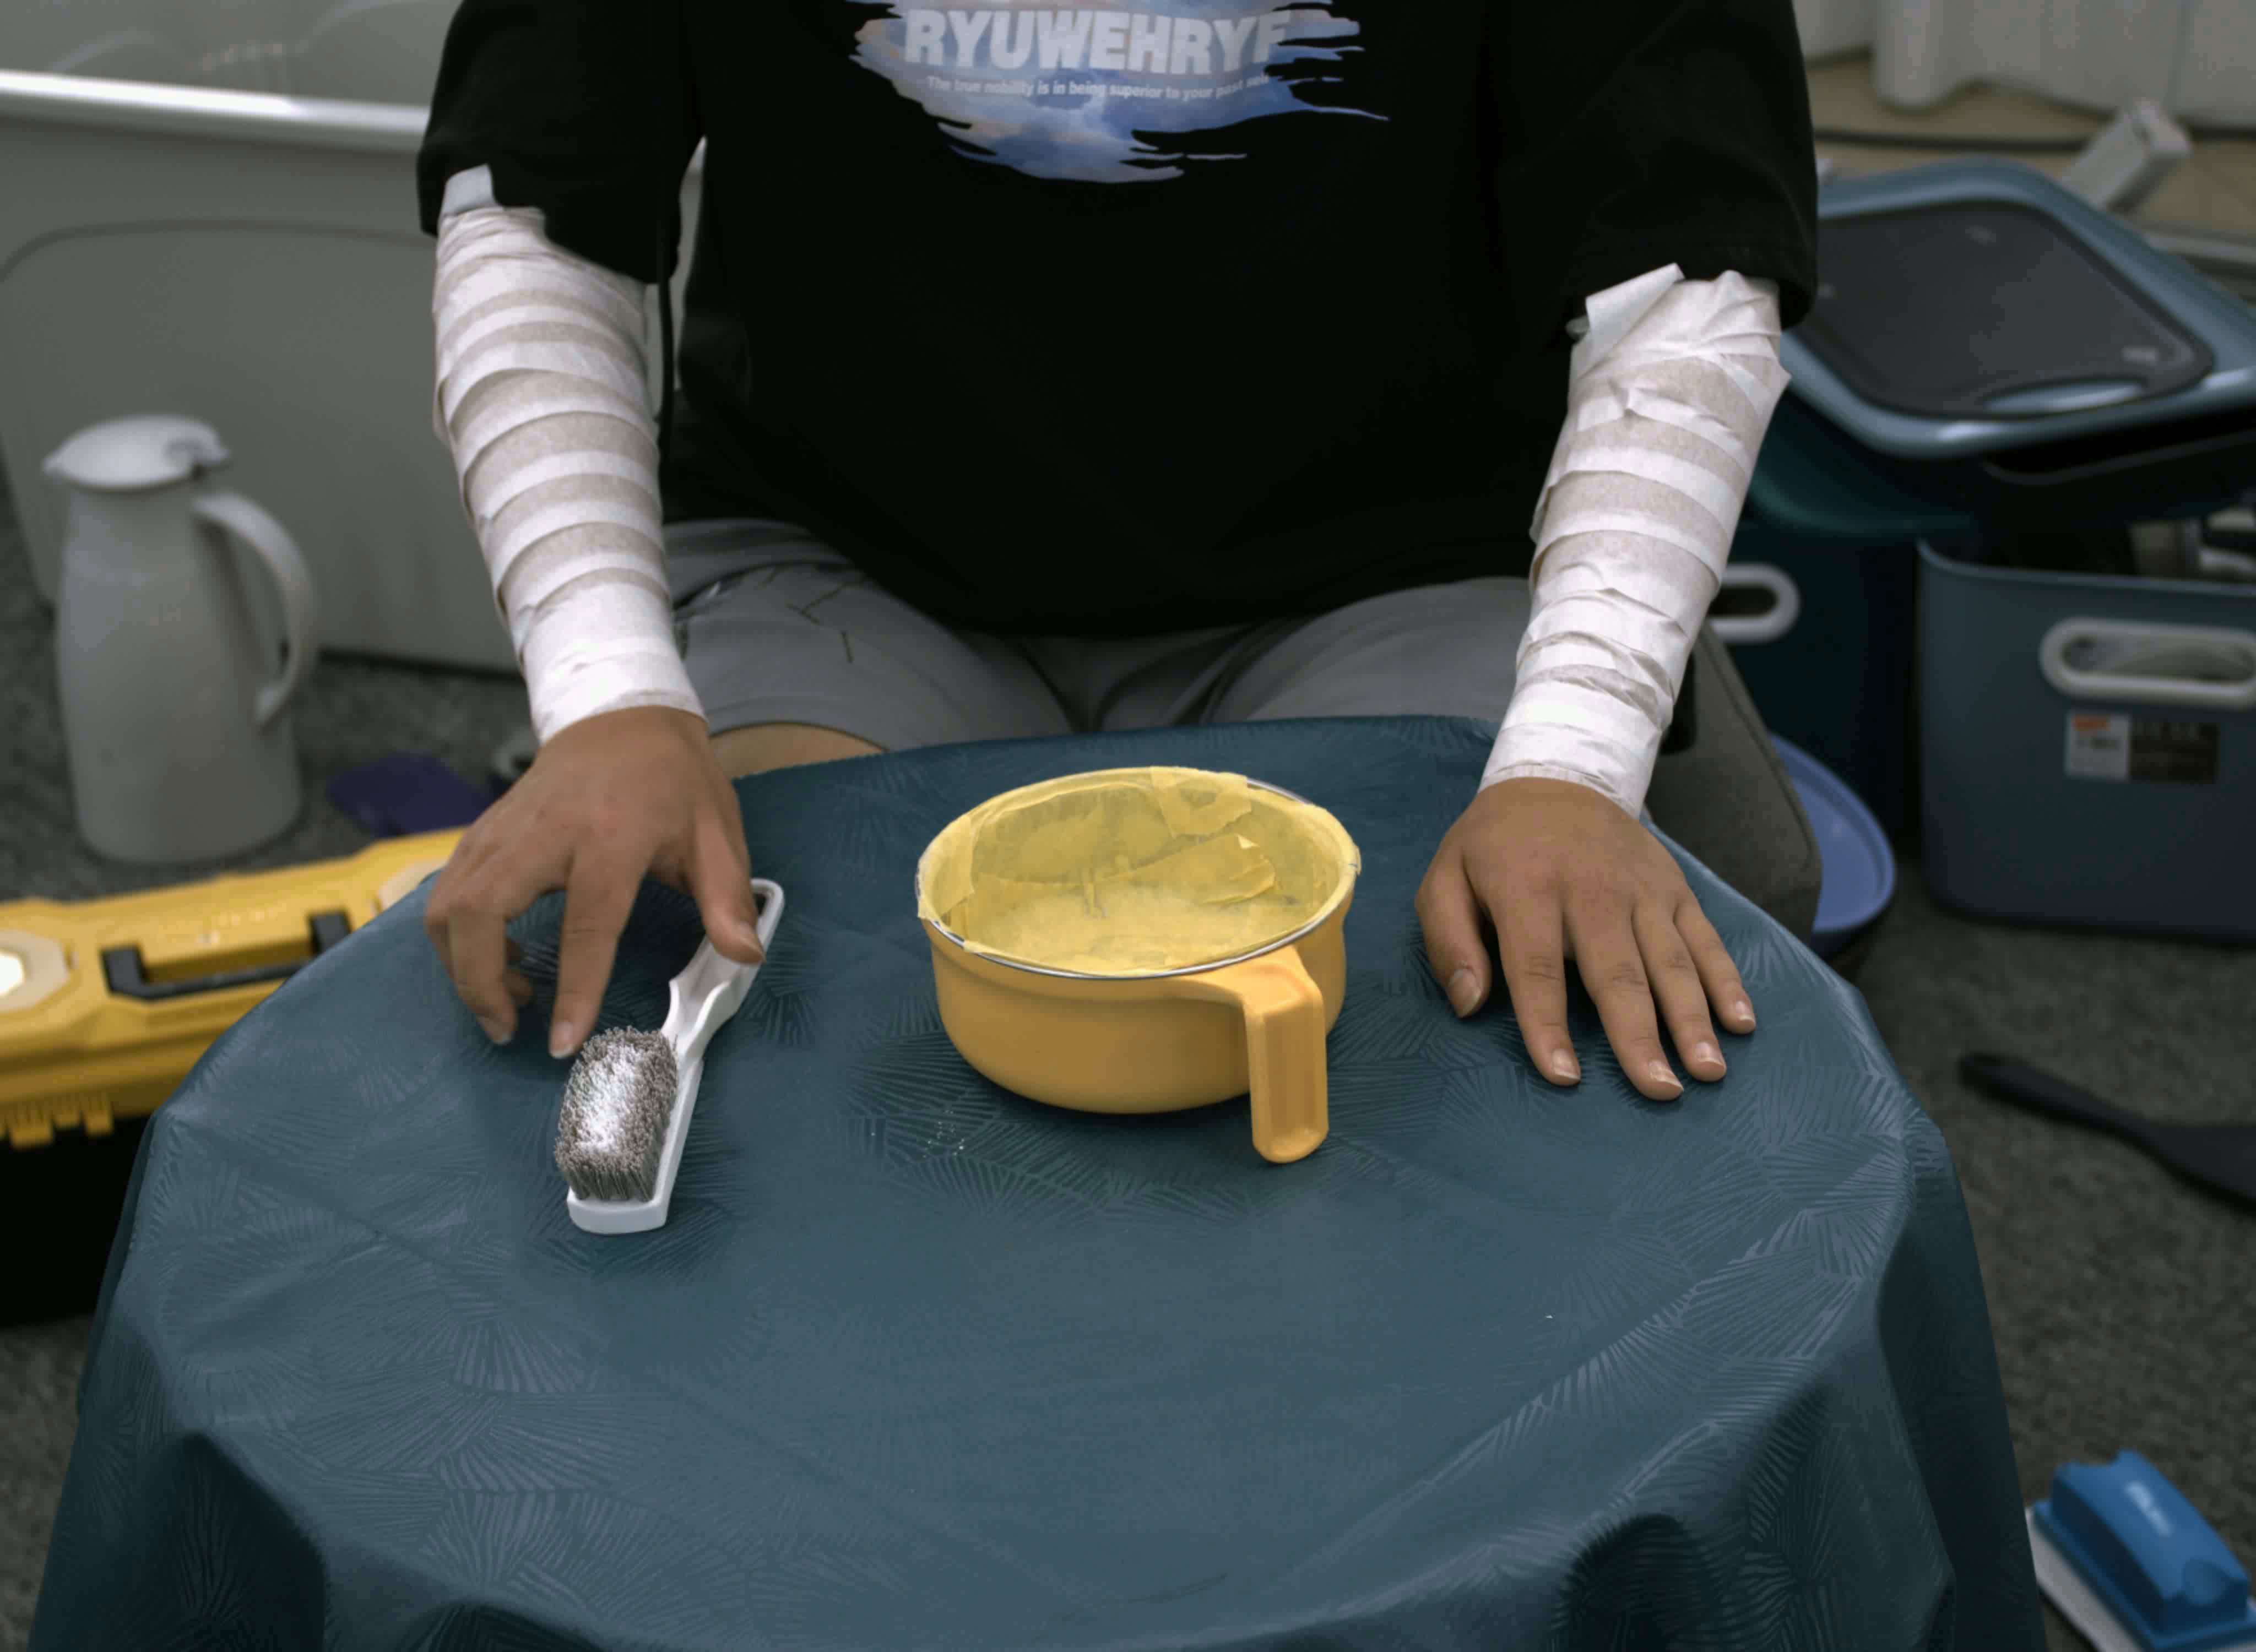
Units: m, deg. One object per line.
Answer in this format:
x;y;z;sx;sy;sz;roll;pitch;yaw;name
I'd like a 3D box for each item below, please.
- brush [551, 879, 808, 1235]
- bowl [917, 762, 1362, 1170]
-0.151;0.062;1.938;0.034;0.050;0.248;1;28;12;brush
0.010;0.048;1.930;0.154;0.073;0.180;-14;29;-30;bowl
